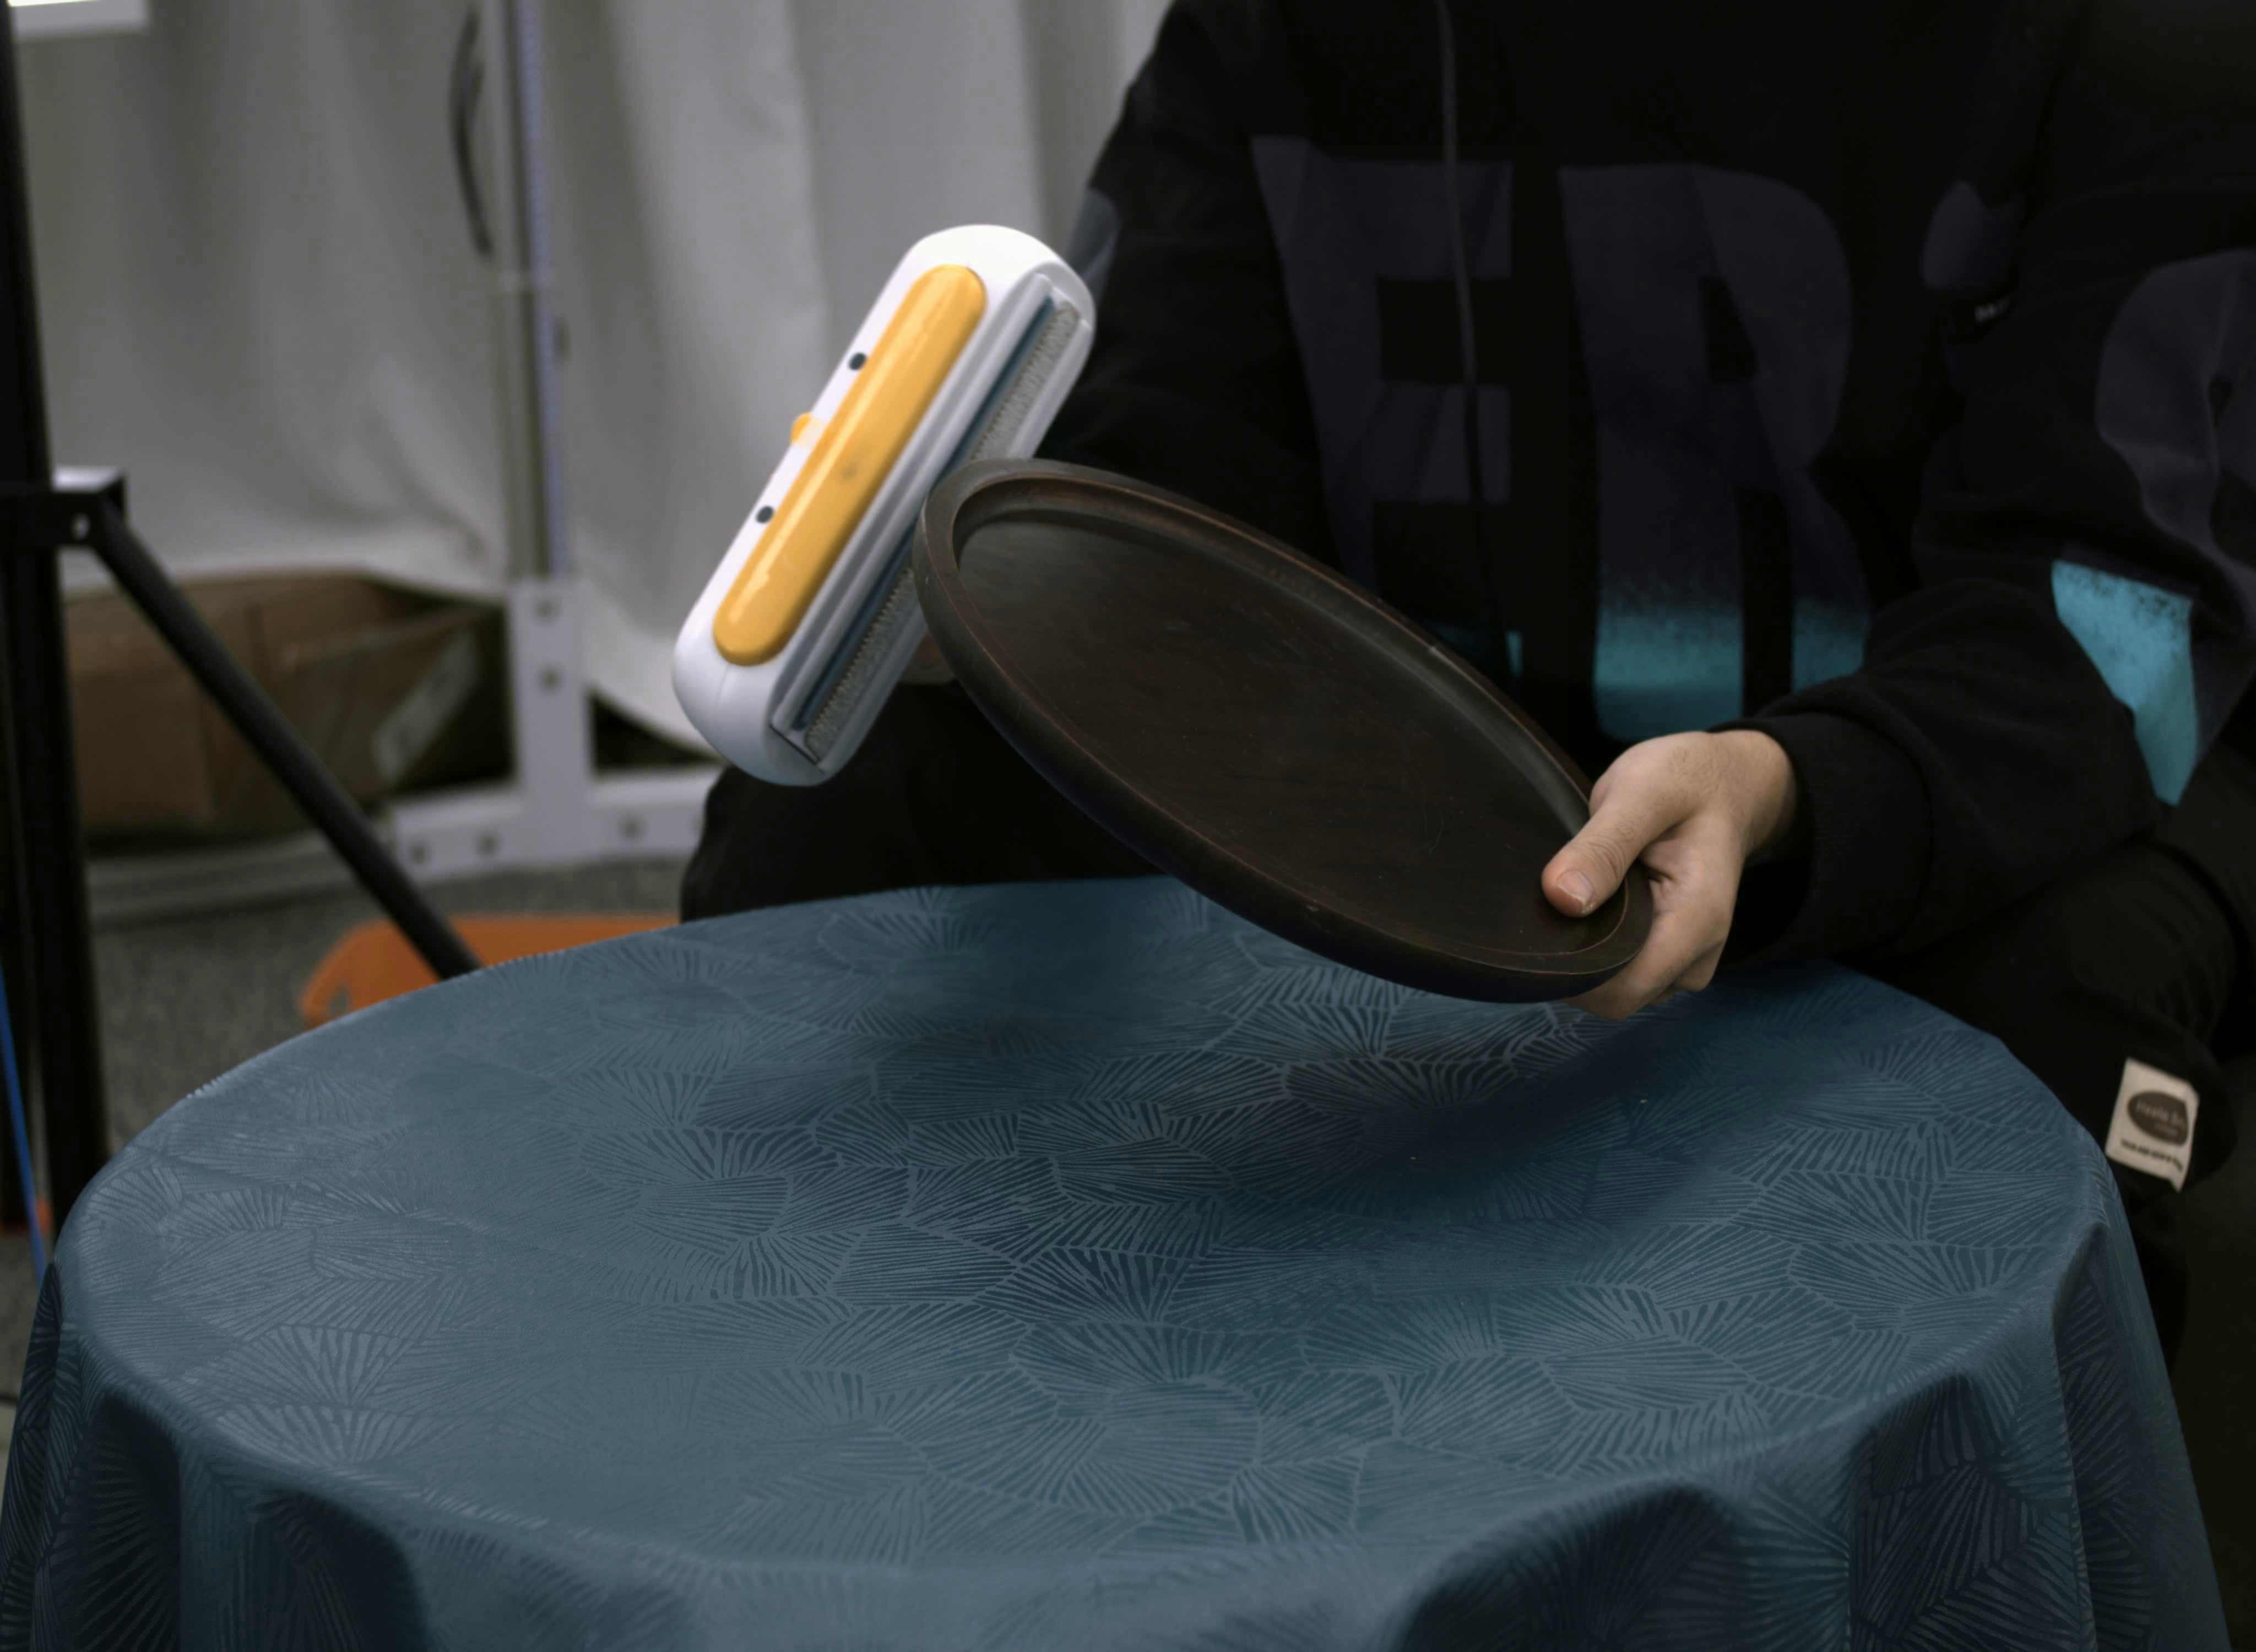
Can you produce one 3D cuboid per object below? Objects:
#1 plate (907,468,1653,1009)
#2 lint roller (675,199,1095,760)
[{"bbox_3d":[0.044,-0.027,1.589,0.251,0.029,0.257,26,22,-13],"label":"plate"},{"bbox_3d":[-0.070,-0.092,1.755,0.075,0.193,0.189,22,-15,22],"label":"lint roller"}]
